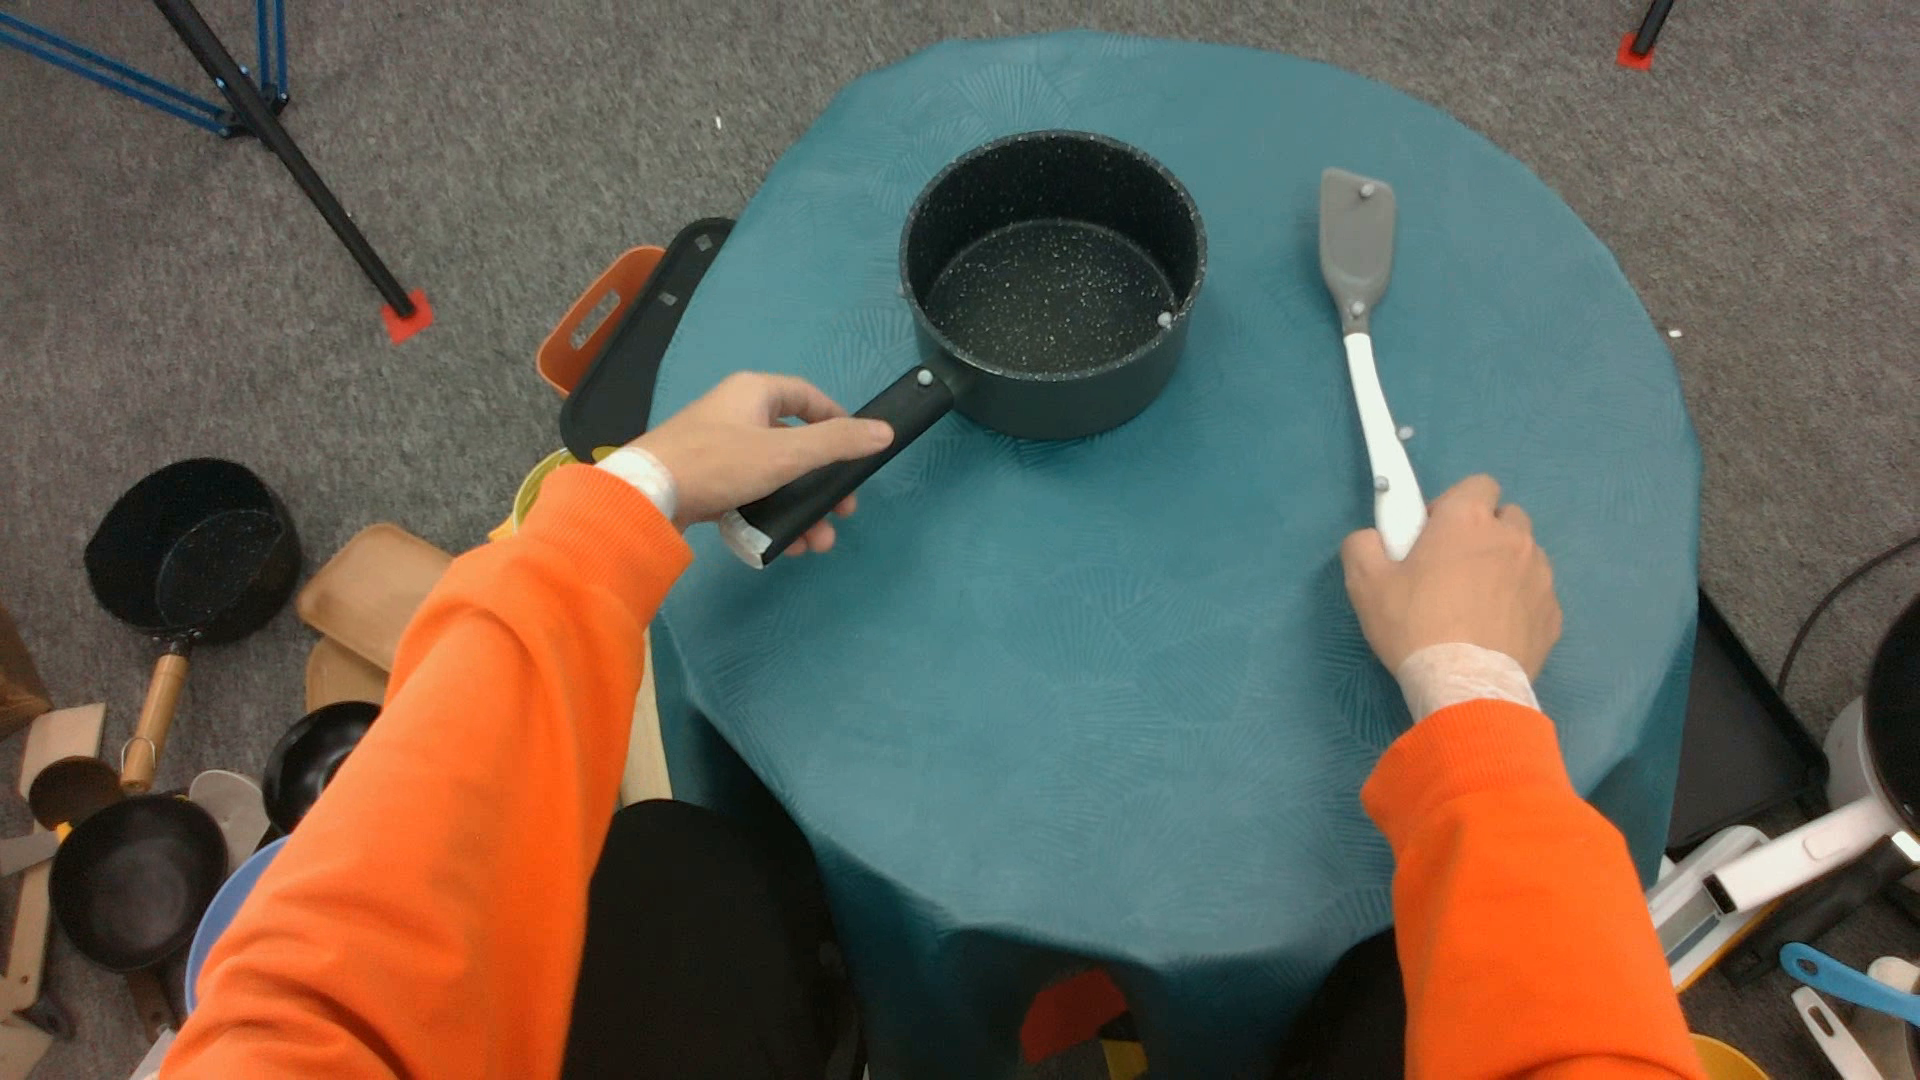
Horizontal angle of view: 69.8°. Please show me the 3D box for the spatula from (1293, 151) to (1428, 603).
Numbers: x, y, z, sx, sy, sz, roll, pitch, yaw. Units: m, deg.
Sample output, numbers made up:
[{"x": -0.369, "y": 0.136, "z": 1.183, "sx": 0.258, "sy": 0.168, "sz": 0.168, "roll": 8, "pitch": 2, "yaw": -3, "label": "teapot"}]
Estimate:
[{"x": 0.226, "y": -0.101, "z": 0.786, "sx": 0.059, "sy": 0.032, "sz": 0.288, "roll": 7, "pitch": 63, "yaw": -16, "label": "spatula"}]

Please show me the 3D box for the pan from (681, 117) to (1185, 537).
[{"x": -0.015, "y": -0.102, "z": 0.768, "sx": 0.172, "sy": 0.086, "sz": 0.330, "roll": 40, "pitch": 70, "yaw": 20, "label": "pan"}]
